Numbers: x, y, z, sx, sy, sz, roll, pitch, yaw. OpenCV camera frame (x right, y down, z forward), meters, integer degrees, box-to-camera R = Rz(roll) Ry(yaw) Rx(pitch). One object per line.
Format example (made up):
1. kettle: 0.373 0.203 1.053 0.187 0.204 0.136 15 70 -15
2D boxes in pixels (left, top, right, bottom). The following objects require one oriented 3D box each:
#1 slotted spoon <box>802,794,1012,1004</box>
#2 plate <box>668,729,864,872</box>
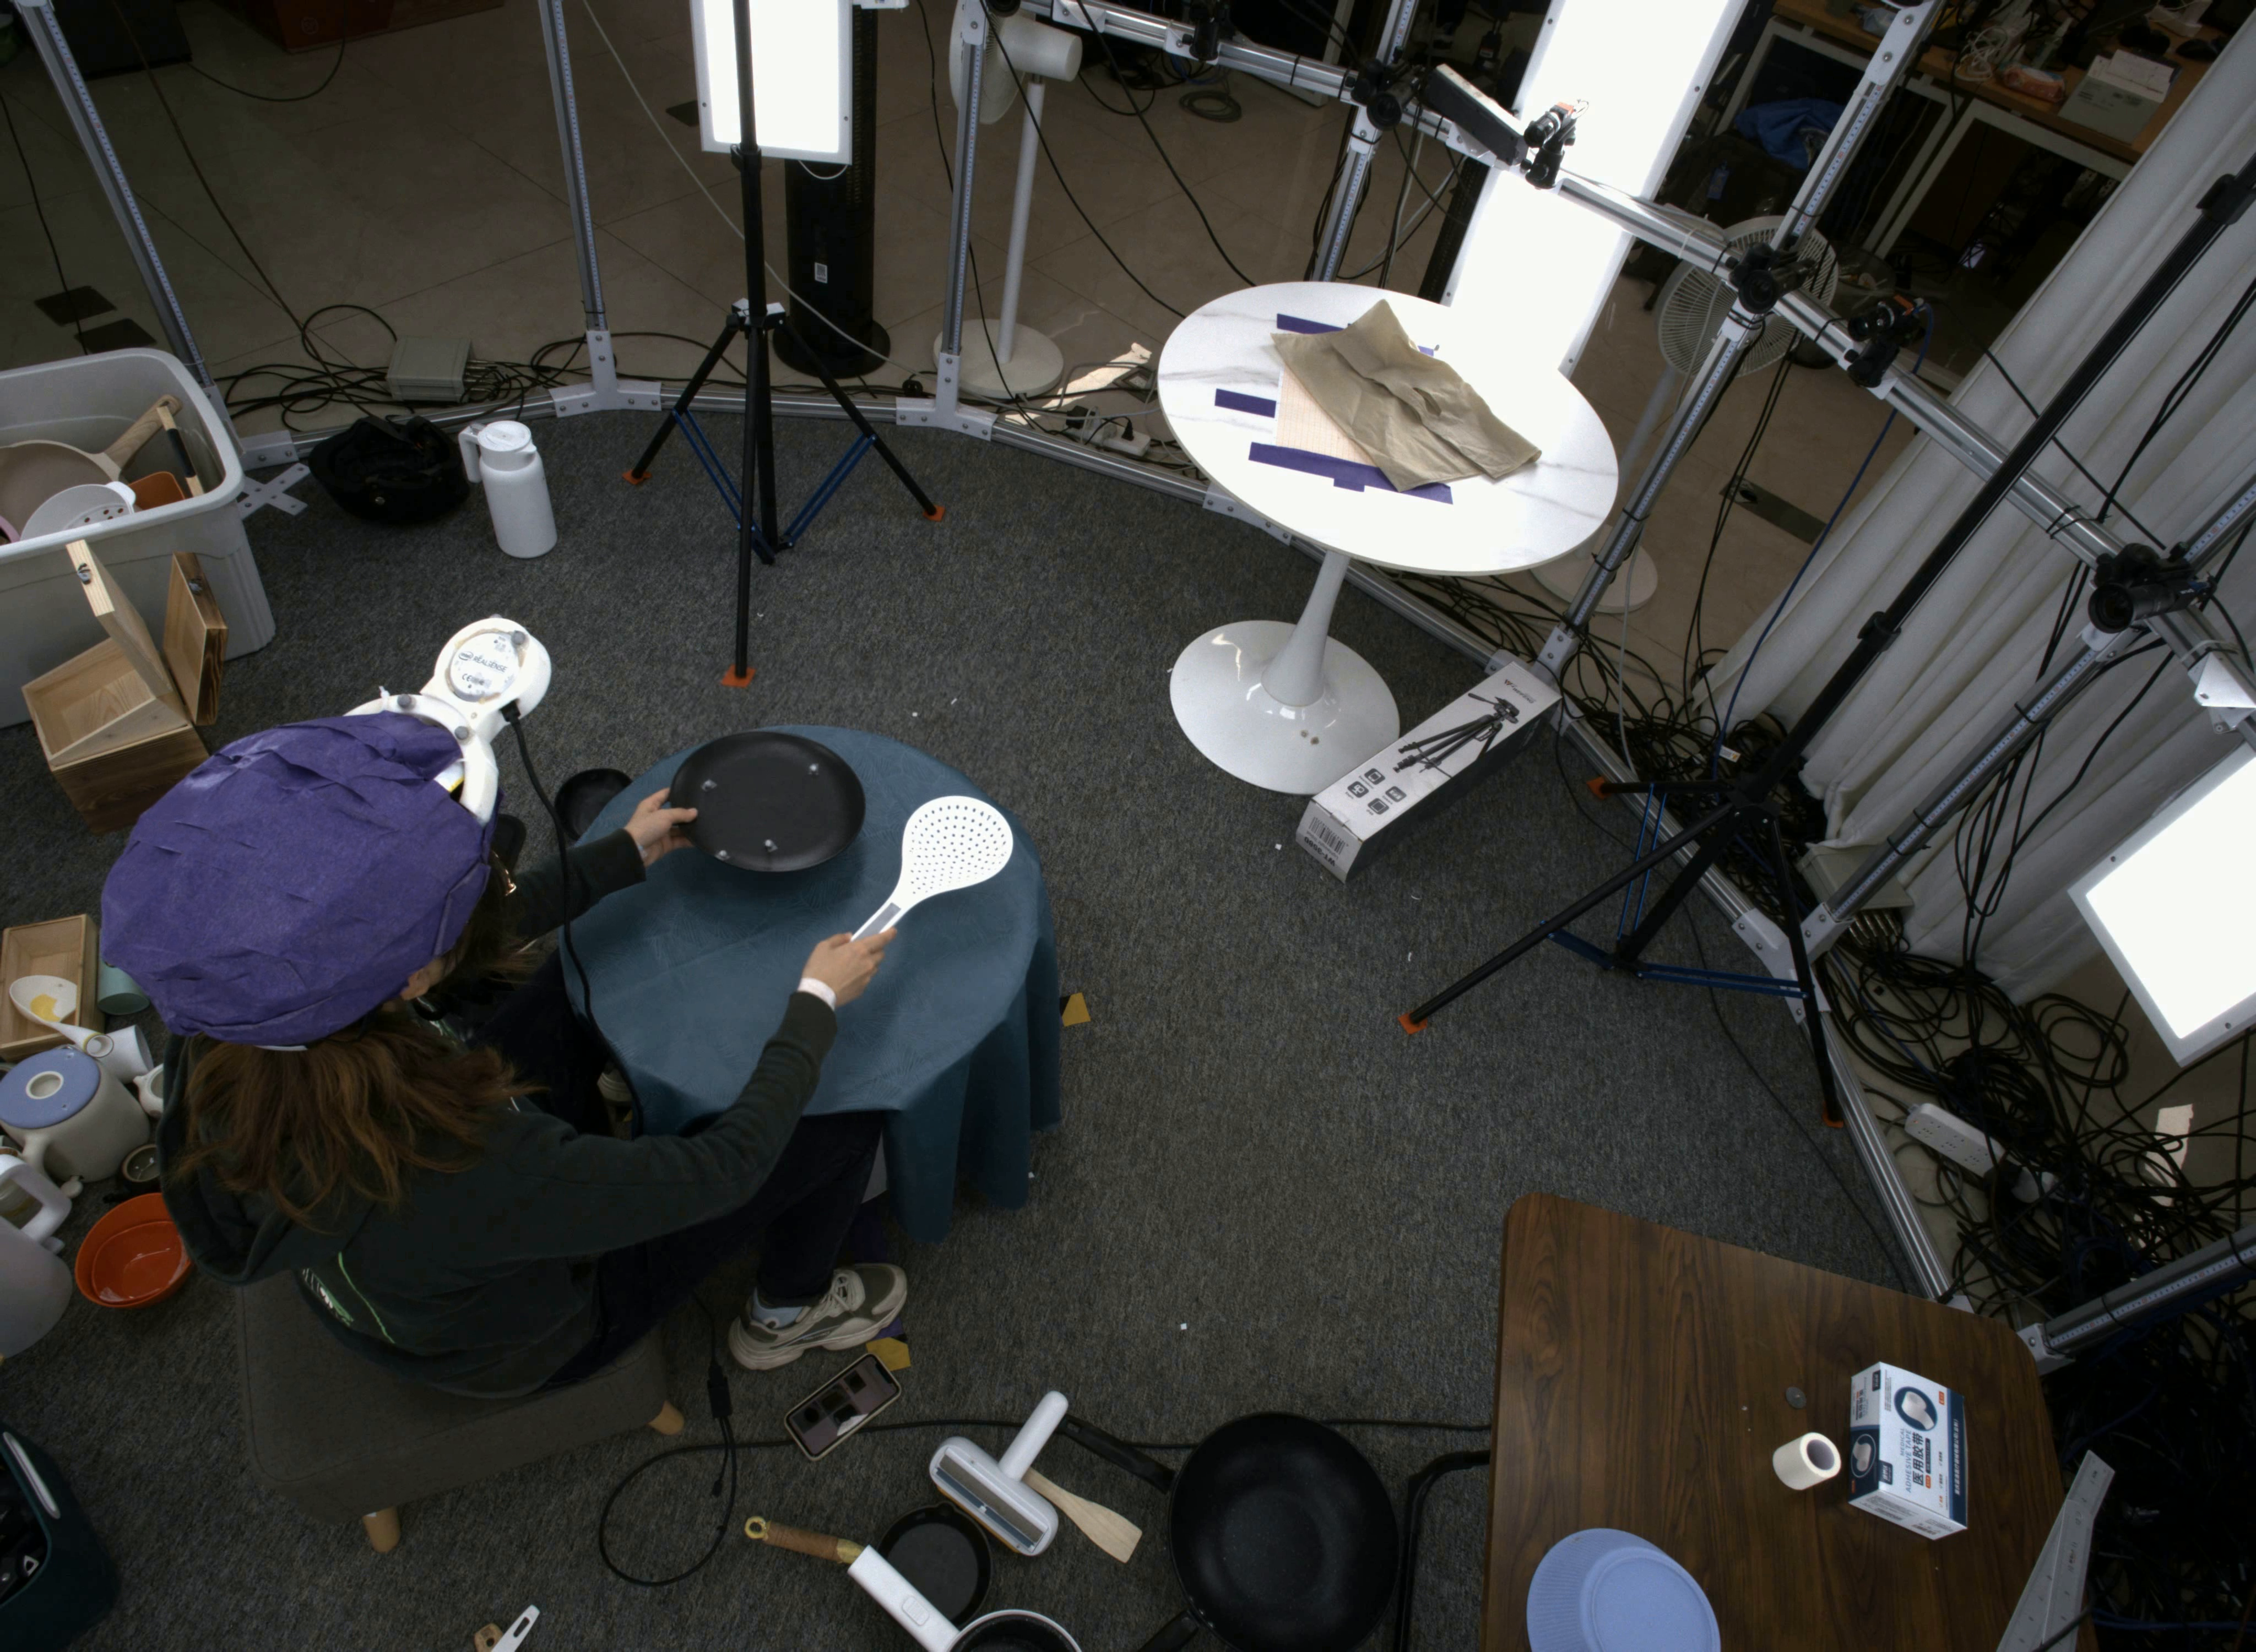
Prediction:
1. slotted spoon: -0.272 0.086 1.582 0.133 0.046 0.349 33 50 11
2. plate: -0.460 -0.031 1.648 0.245 0.024 0.239 12 47 -11
